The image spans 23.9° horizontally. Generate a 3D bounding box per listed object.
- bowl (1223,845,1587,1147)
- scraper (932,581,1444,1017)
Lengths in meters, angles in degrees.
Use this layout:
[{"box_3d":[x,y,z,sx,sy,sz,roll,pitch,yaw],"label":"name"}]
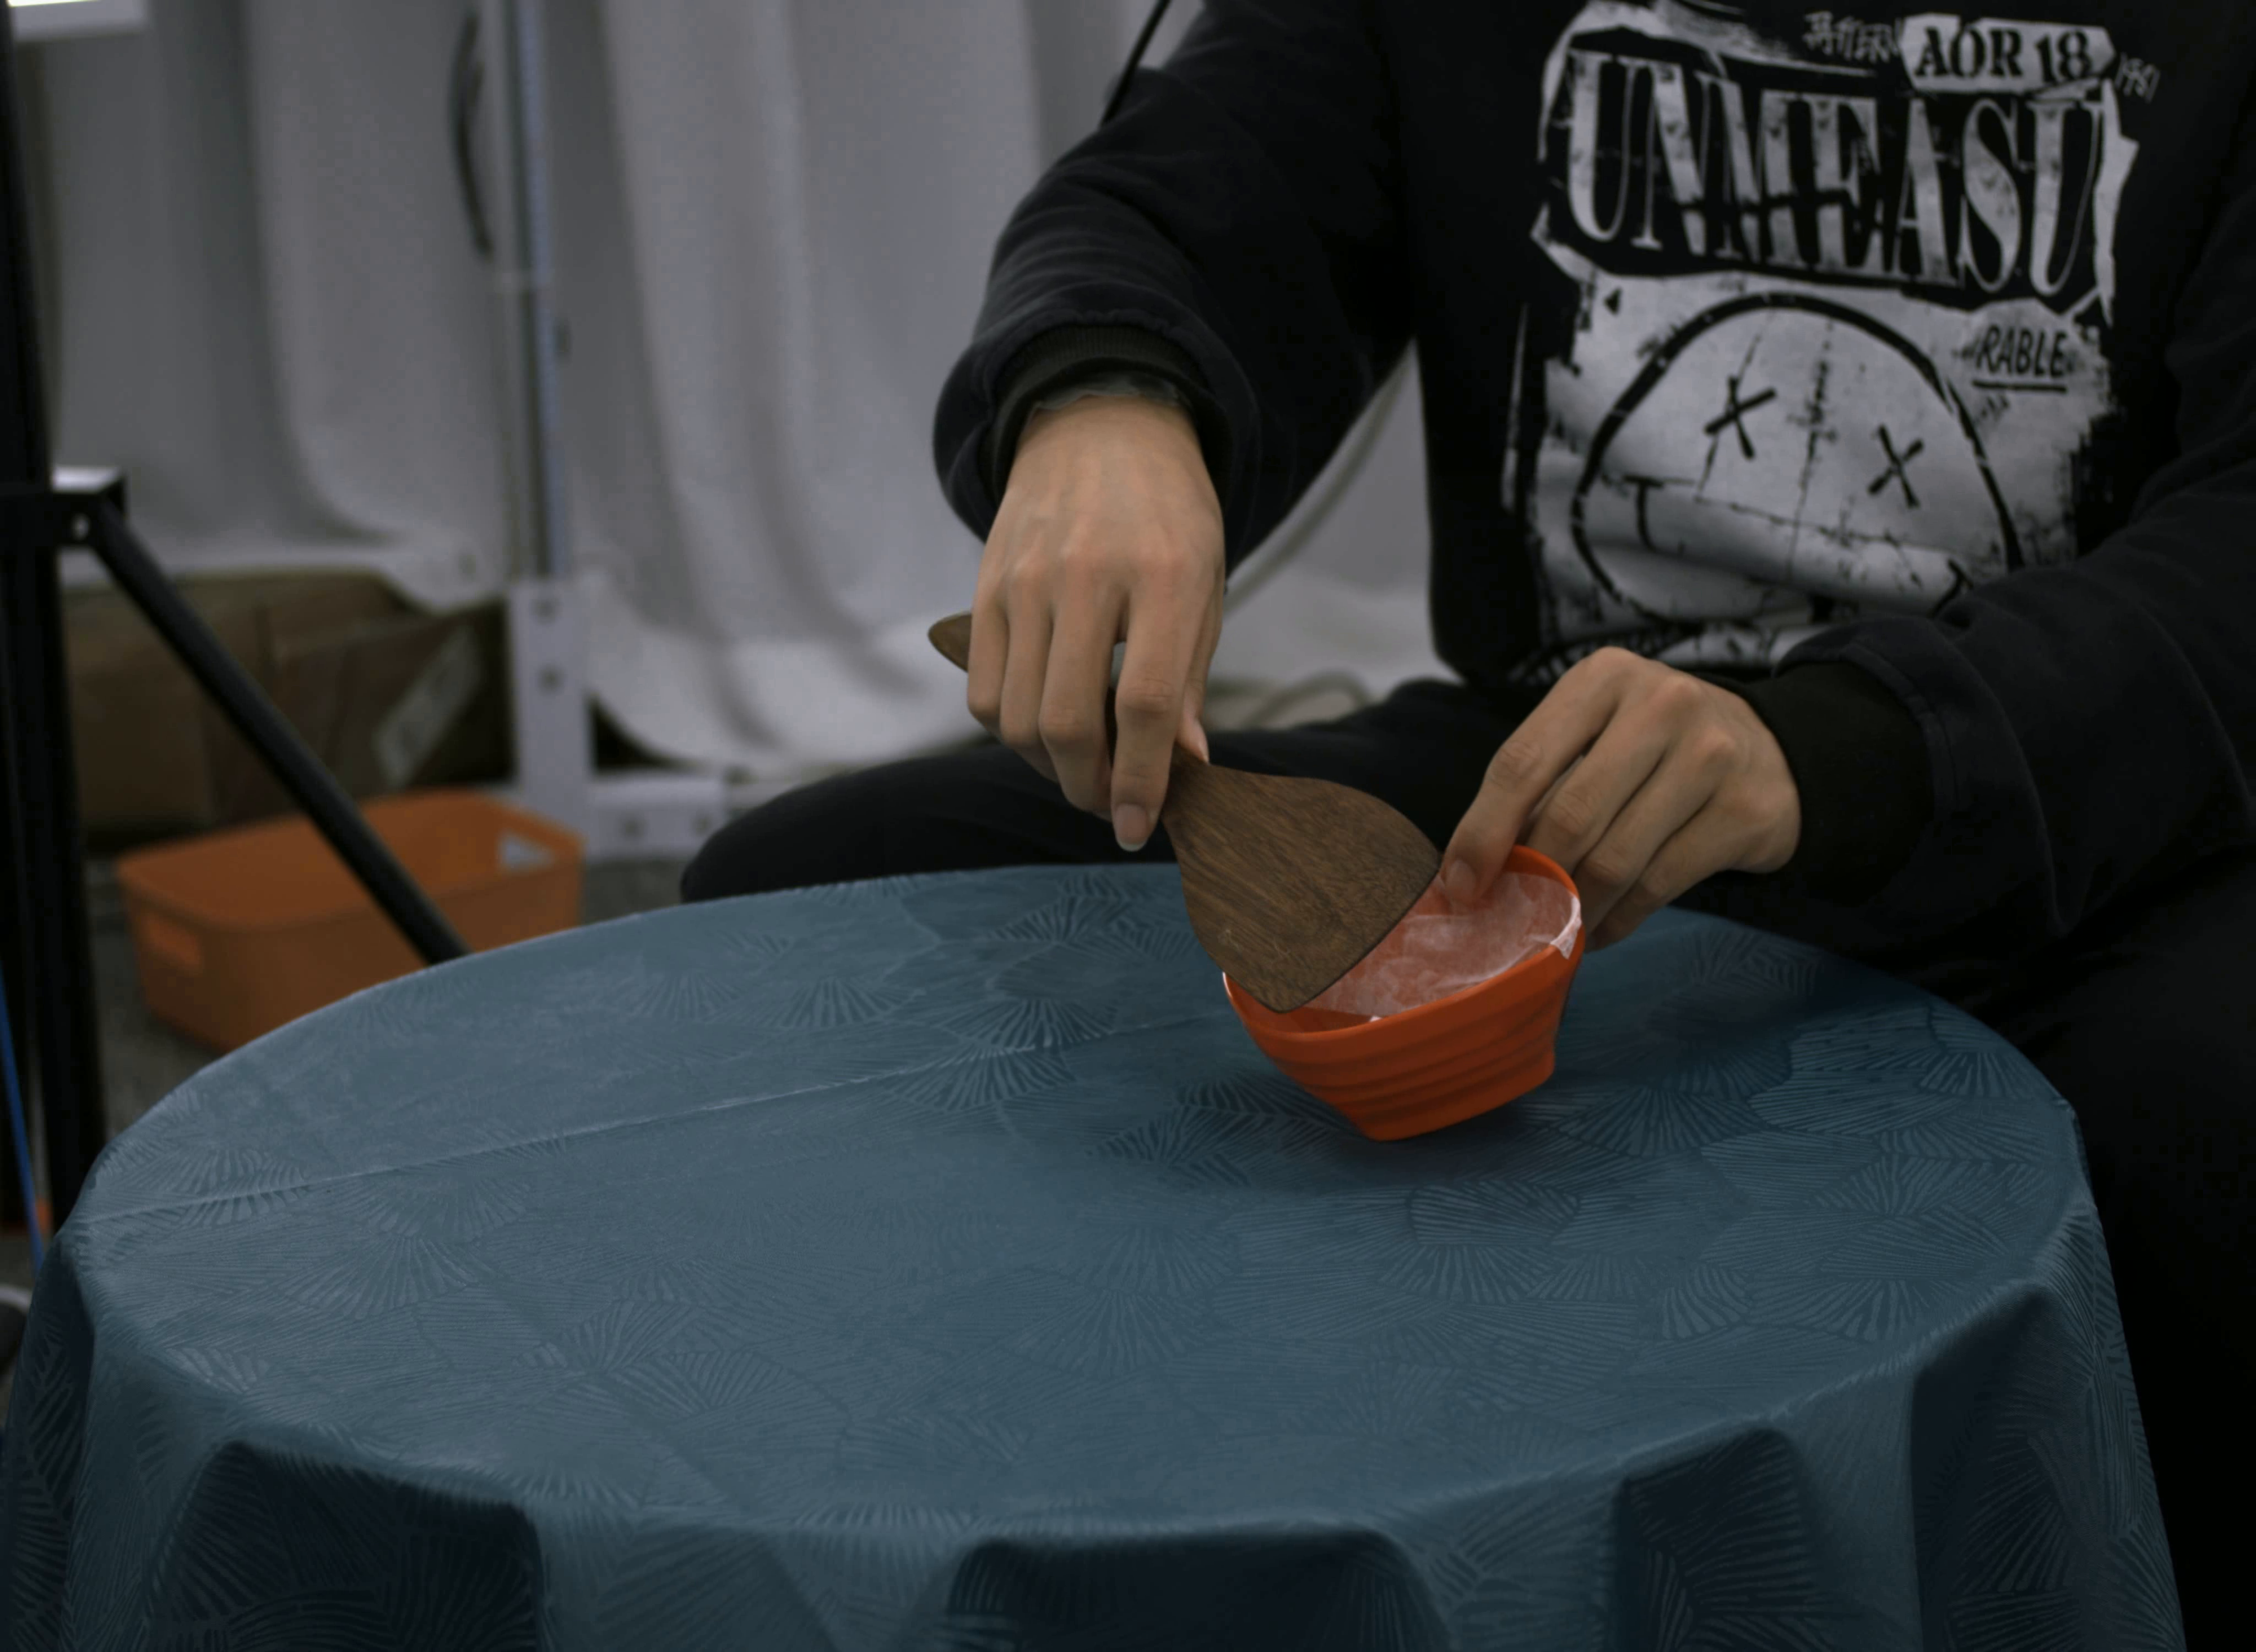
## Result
[{"box_3d":[0.090,0.056,1.607,0.119,0.051,0.120,-18,22,6],"label":"bowl"},{"box_3d":[0.010,-0.017,1.628,0.075,0.010,0.216,-46,51,-6],"label":"scraper"}]
